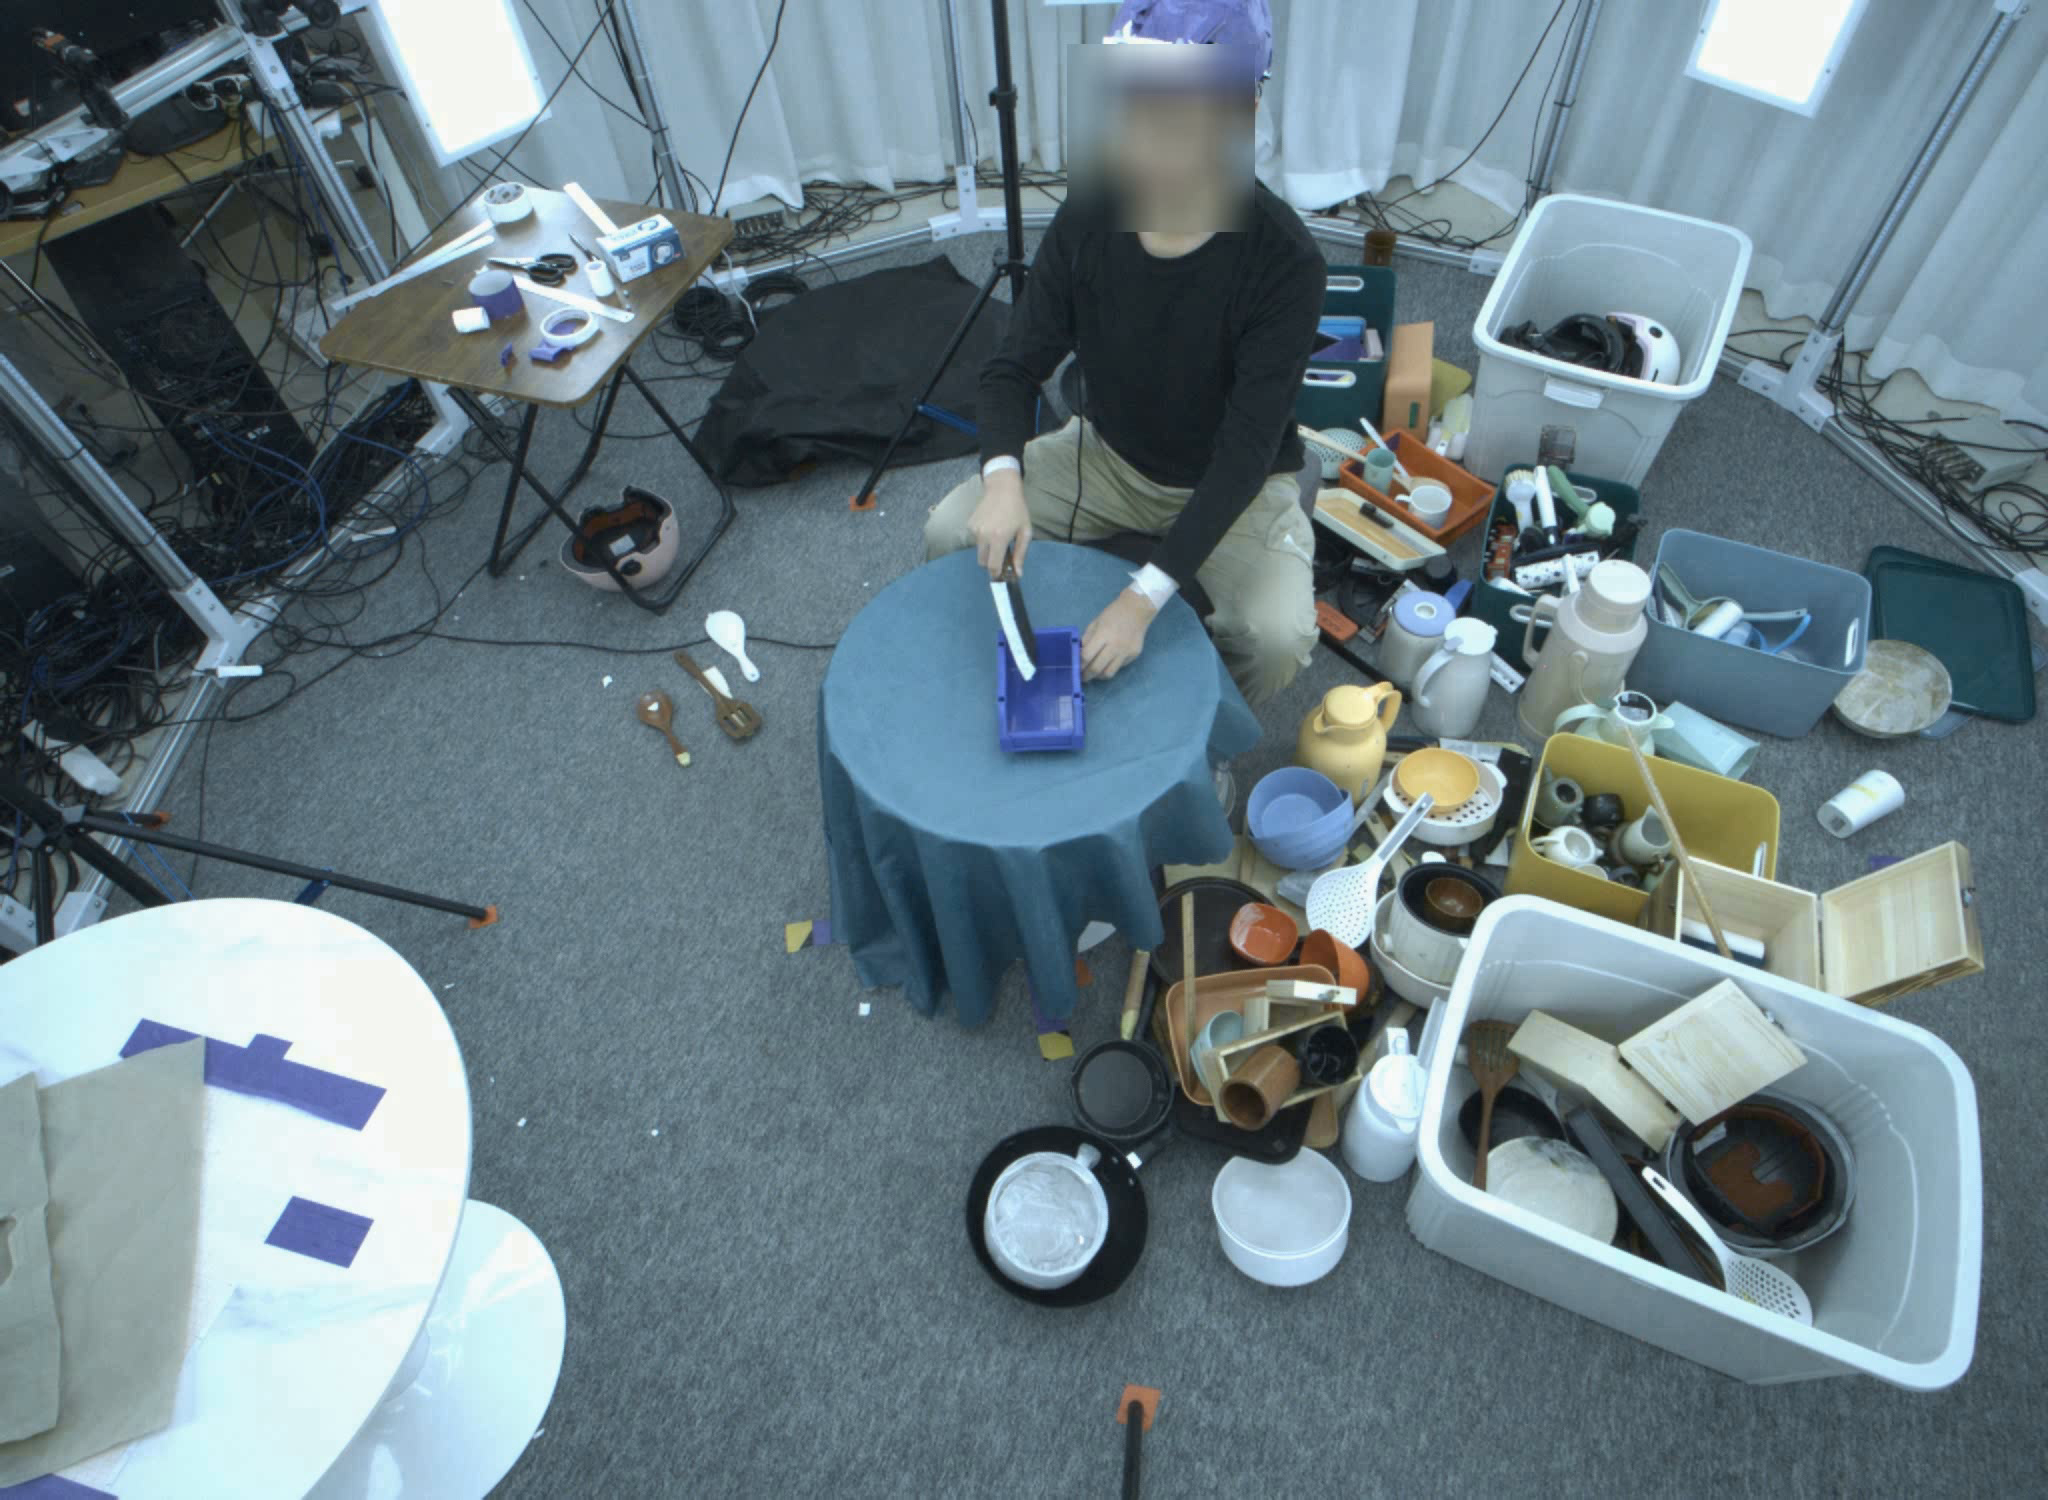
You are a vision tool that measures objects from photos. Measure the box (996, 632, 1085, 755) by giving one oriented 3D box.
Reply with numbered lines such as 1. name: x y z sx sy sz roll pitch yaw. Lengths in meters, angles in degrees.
1. box: 0.026 -0.079 1.792 0.124 0.083 0.177 -1 52 2

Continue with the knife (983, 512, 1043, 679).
1. knife: -0.020 -0.232 1.817 0.051 0.020 0.286 -4 67 -23
